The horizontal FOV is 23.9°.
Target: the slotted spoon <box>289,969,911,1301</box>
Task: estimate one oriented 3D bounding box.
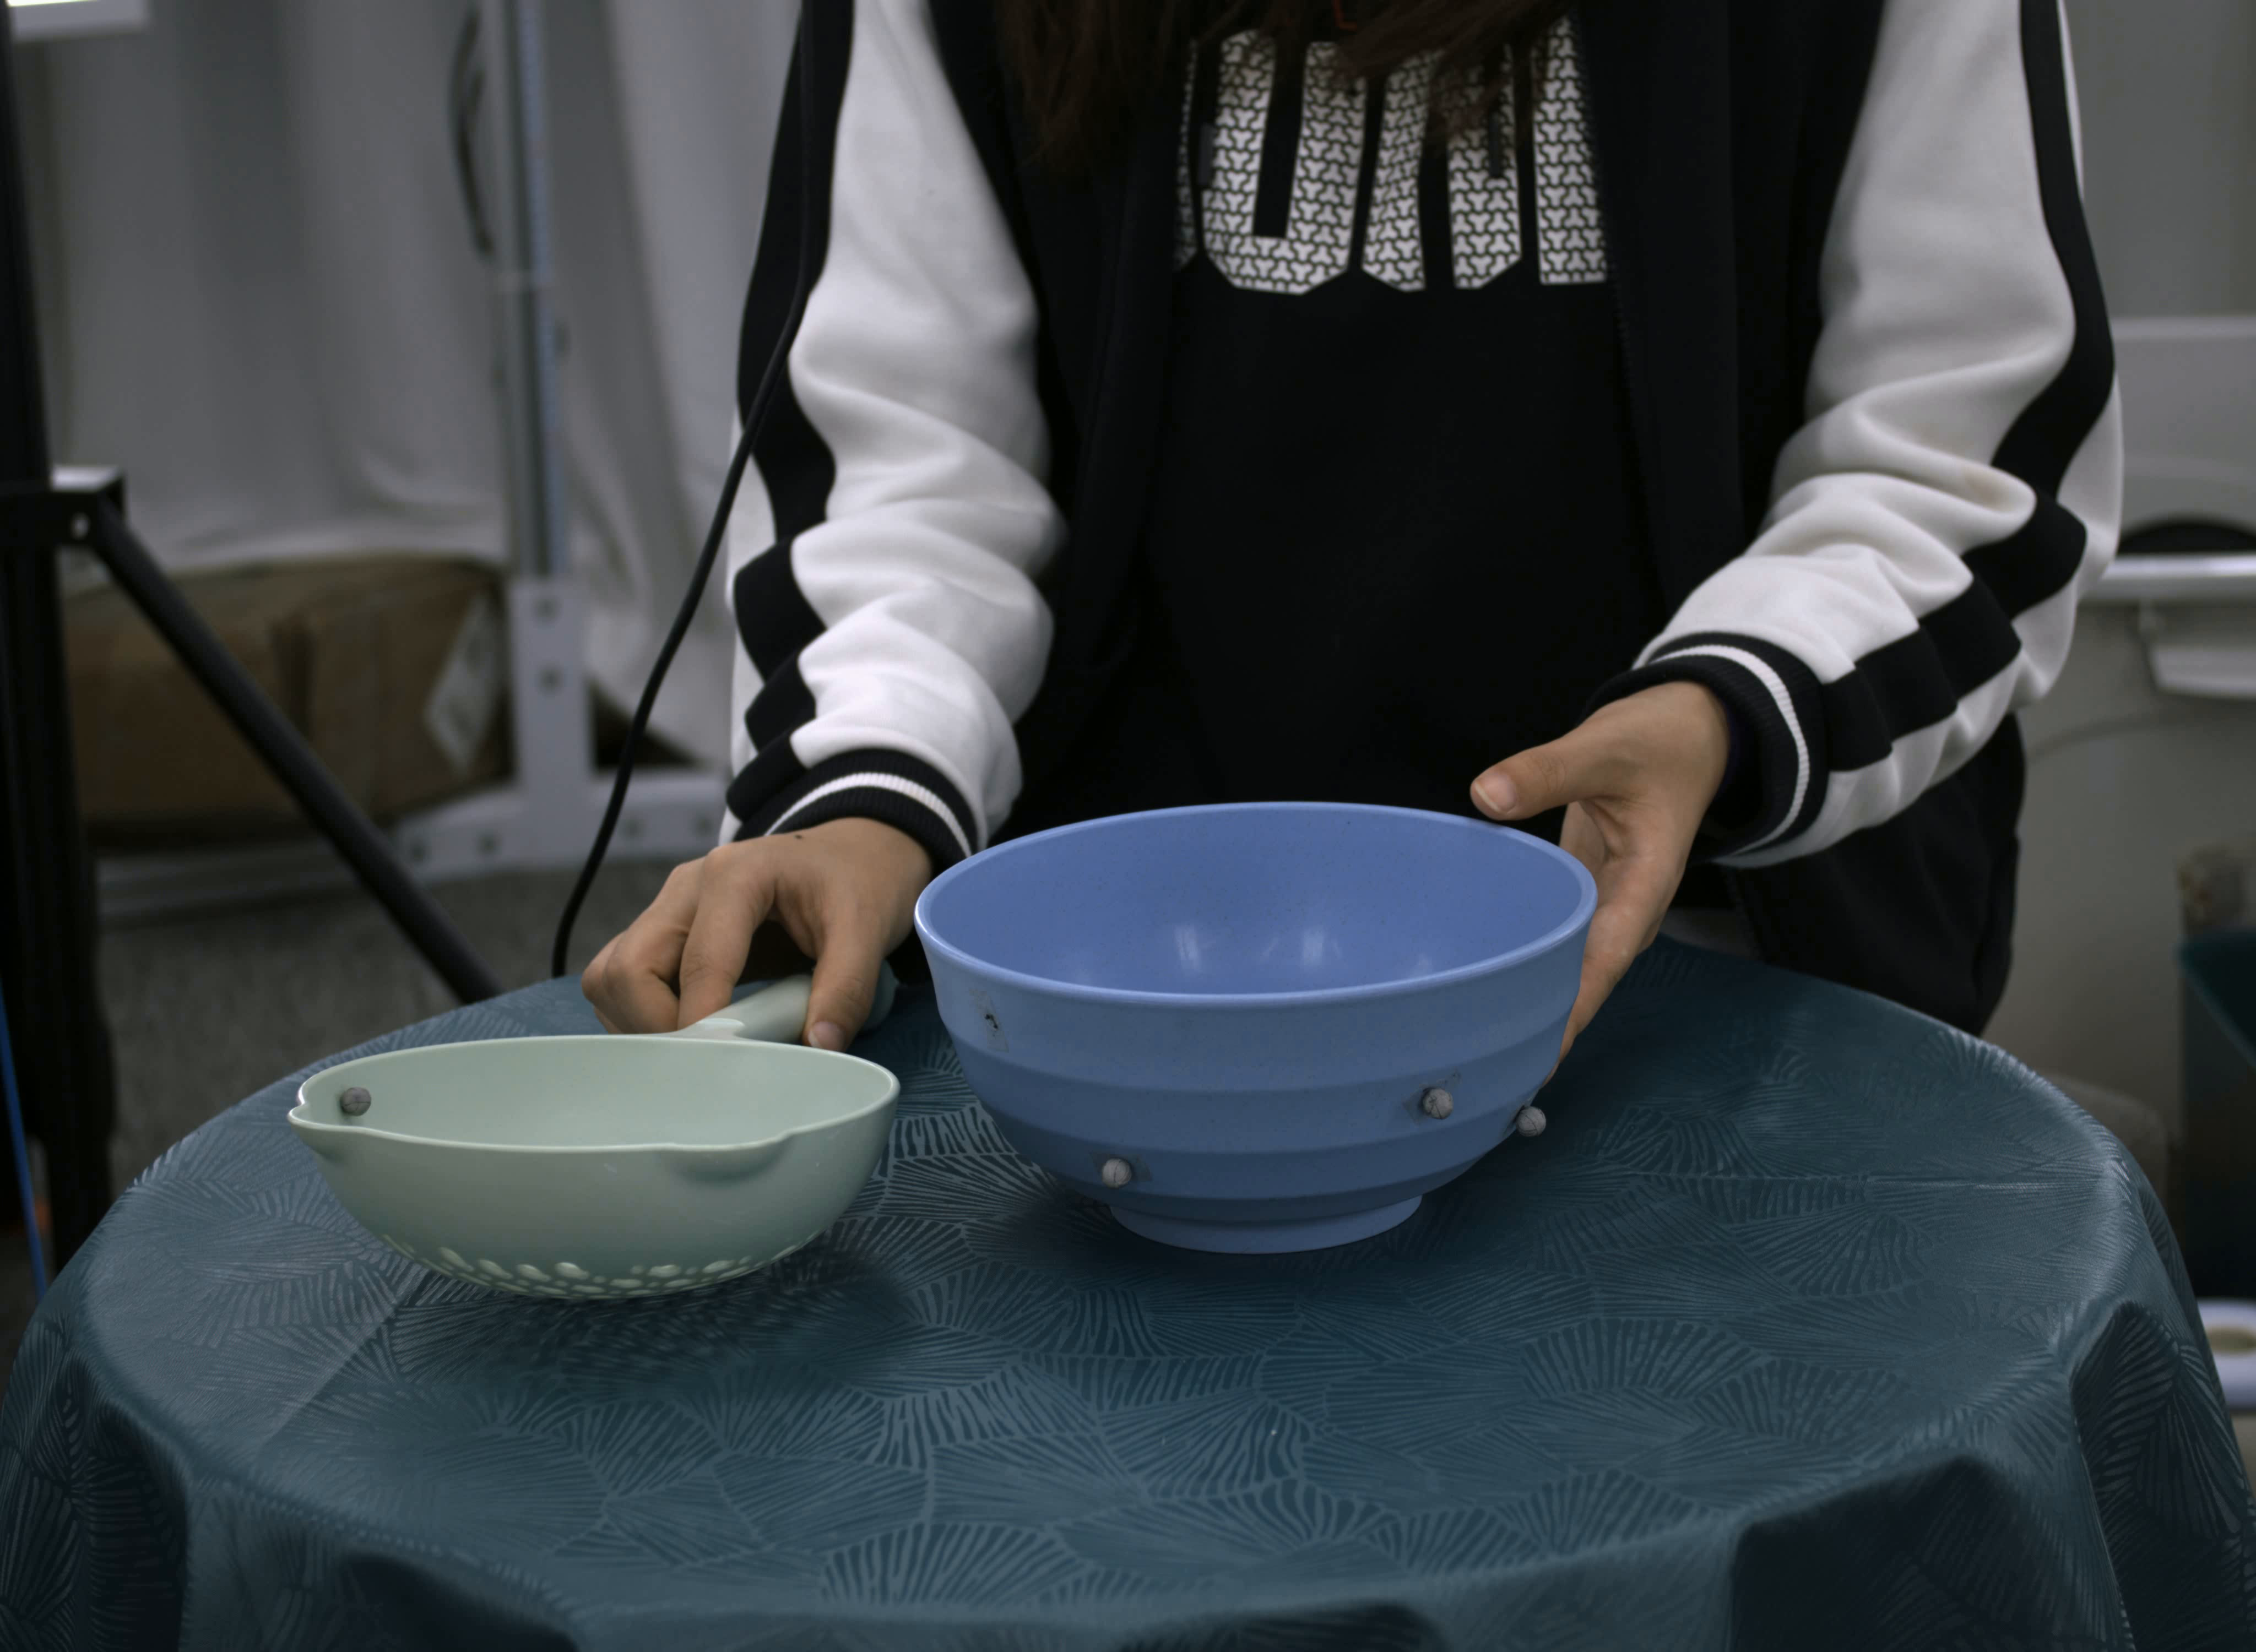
[{"bbox_3d":[-0.123,0.076,1.587,0.170,0.075,0.356,3,15,14],"label":"slotted spoon"}]

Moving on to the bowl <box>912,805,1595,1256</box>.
[{"bbox_3d":[0.038,0.064,1.532,0.195,0.095,0.197,-3,15,-1],"label":"bowl"}]
